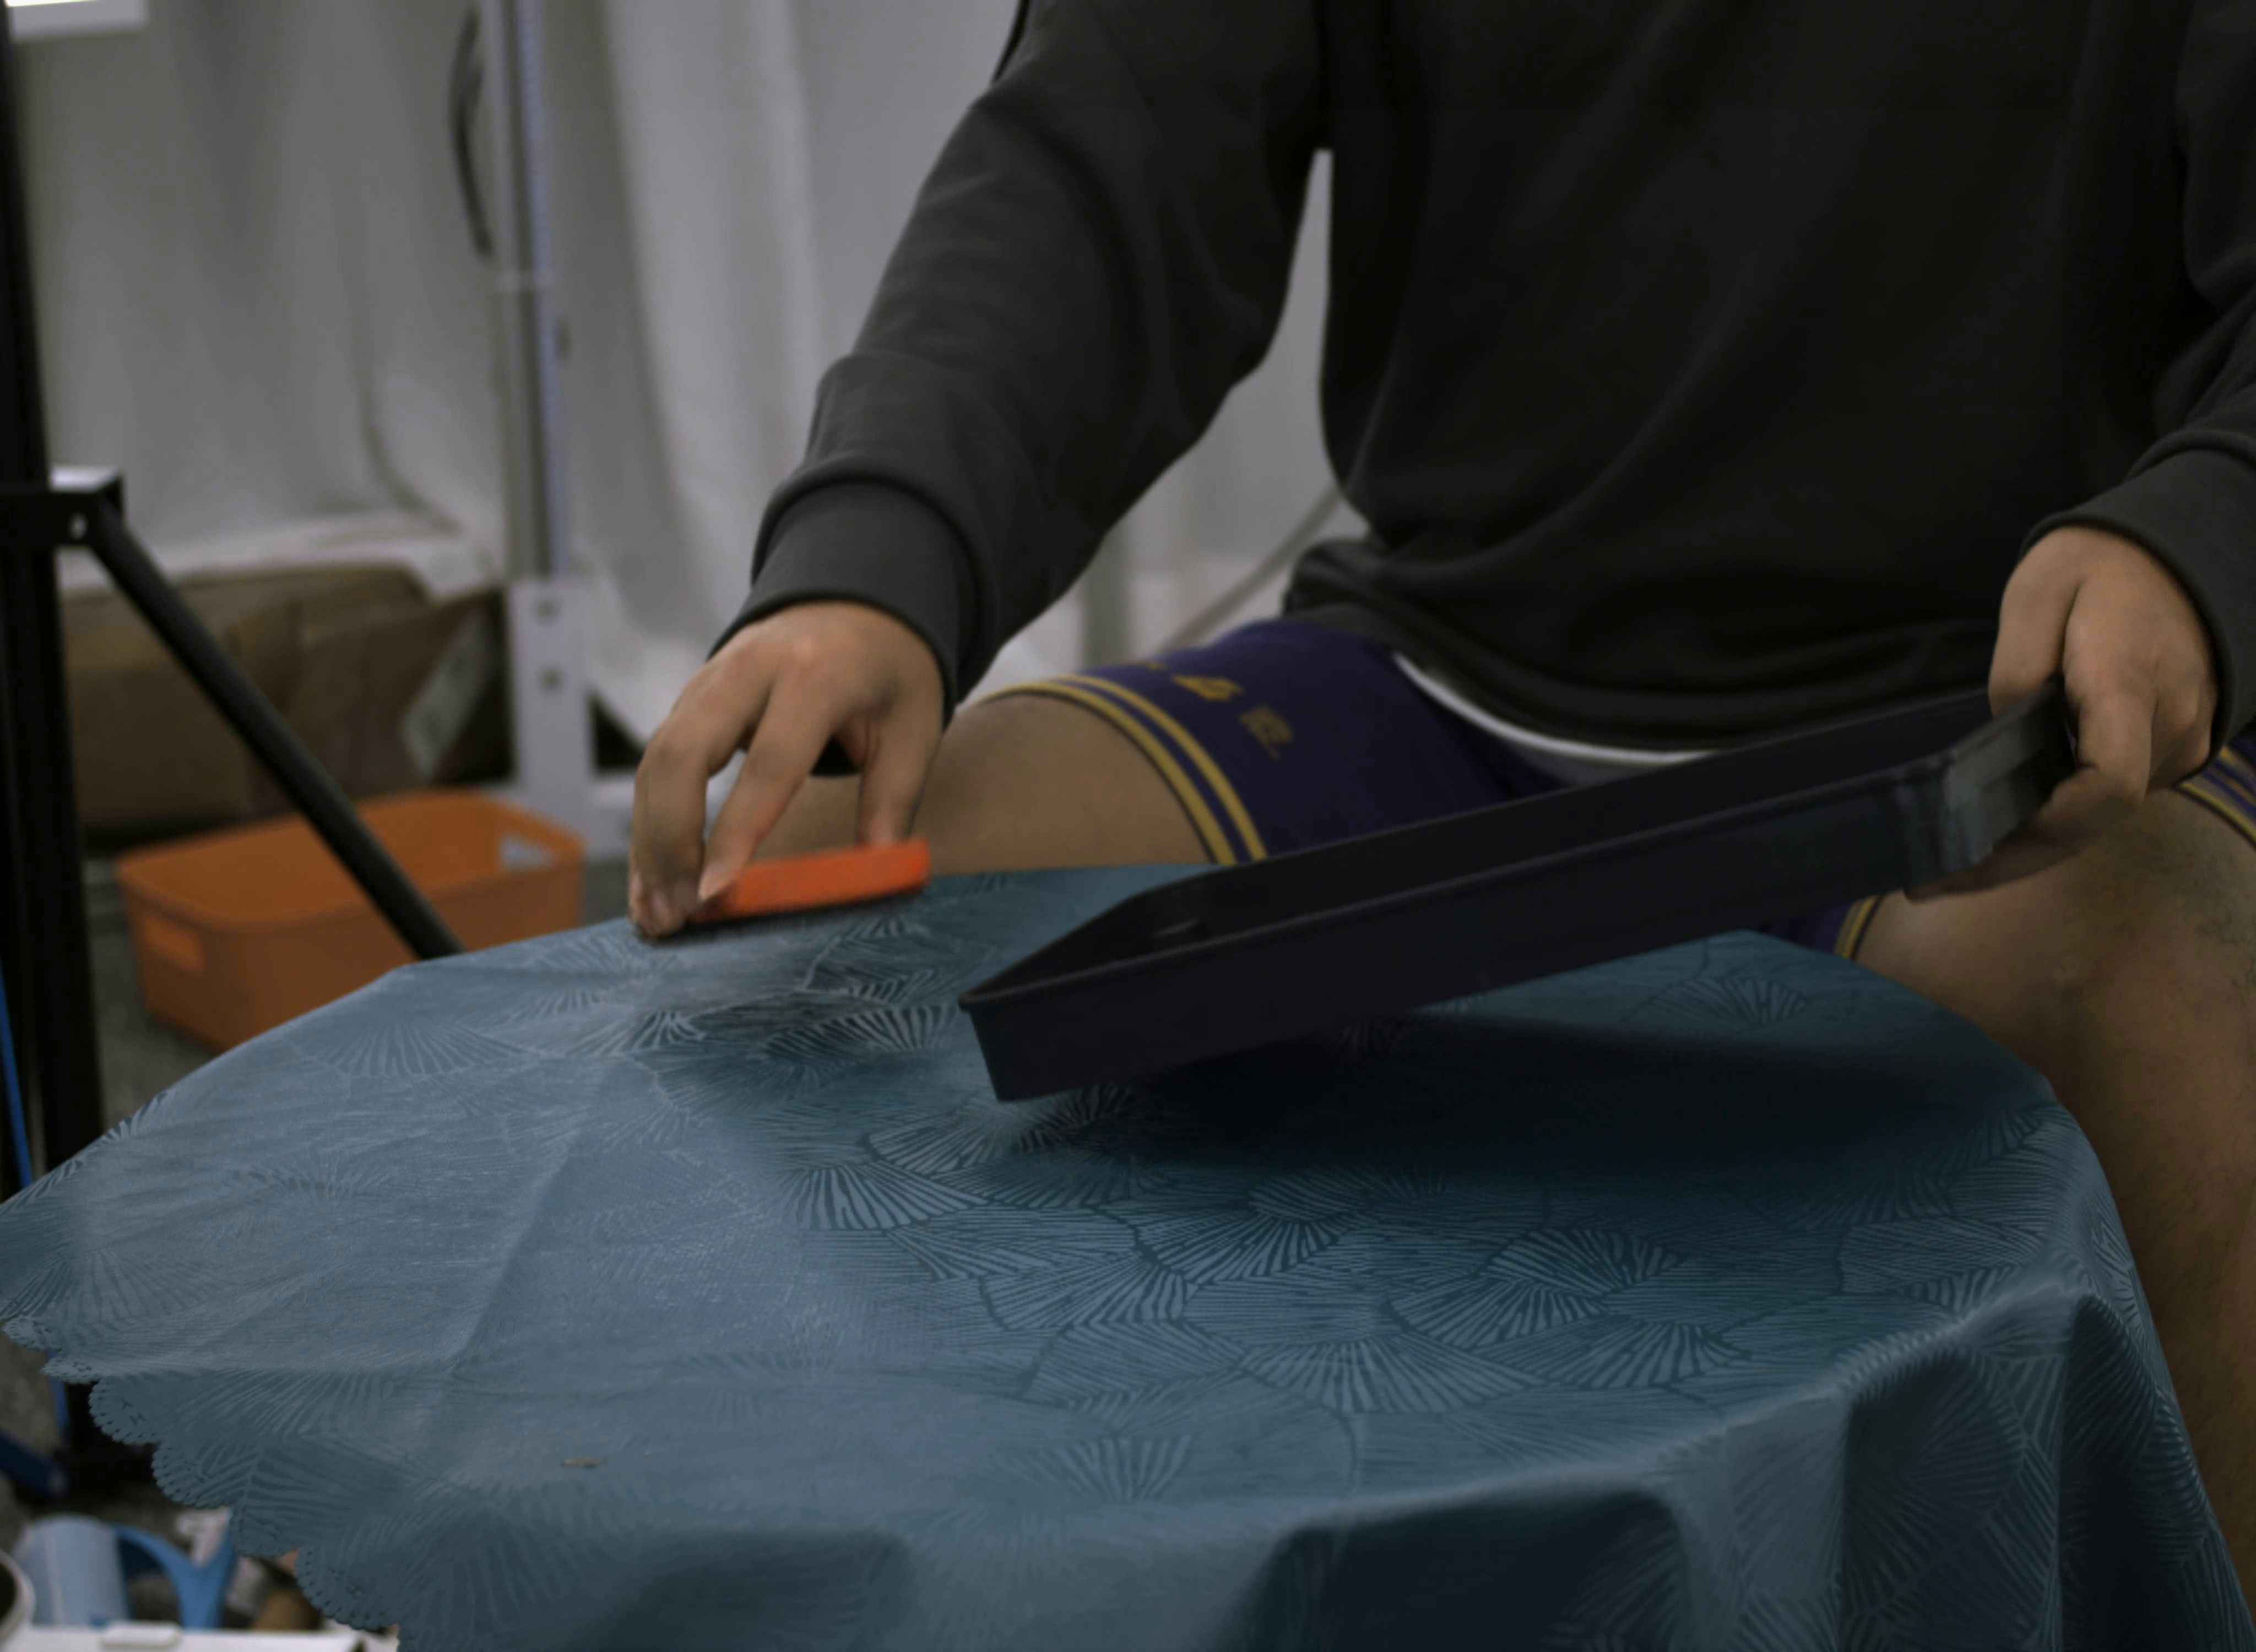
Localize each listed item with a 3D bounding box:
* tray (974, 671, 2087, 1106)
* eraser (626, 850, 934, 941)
[{"bbox_3d":[0.124,0.019,1.602,0.321,0.037,0.181,-14,4,23],"label":"tray"},{"bbox_3d":[-0.113,0.023,1.723,0.057,0.023,0.110,0,-5,-36],"label":"eraser"}]
